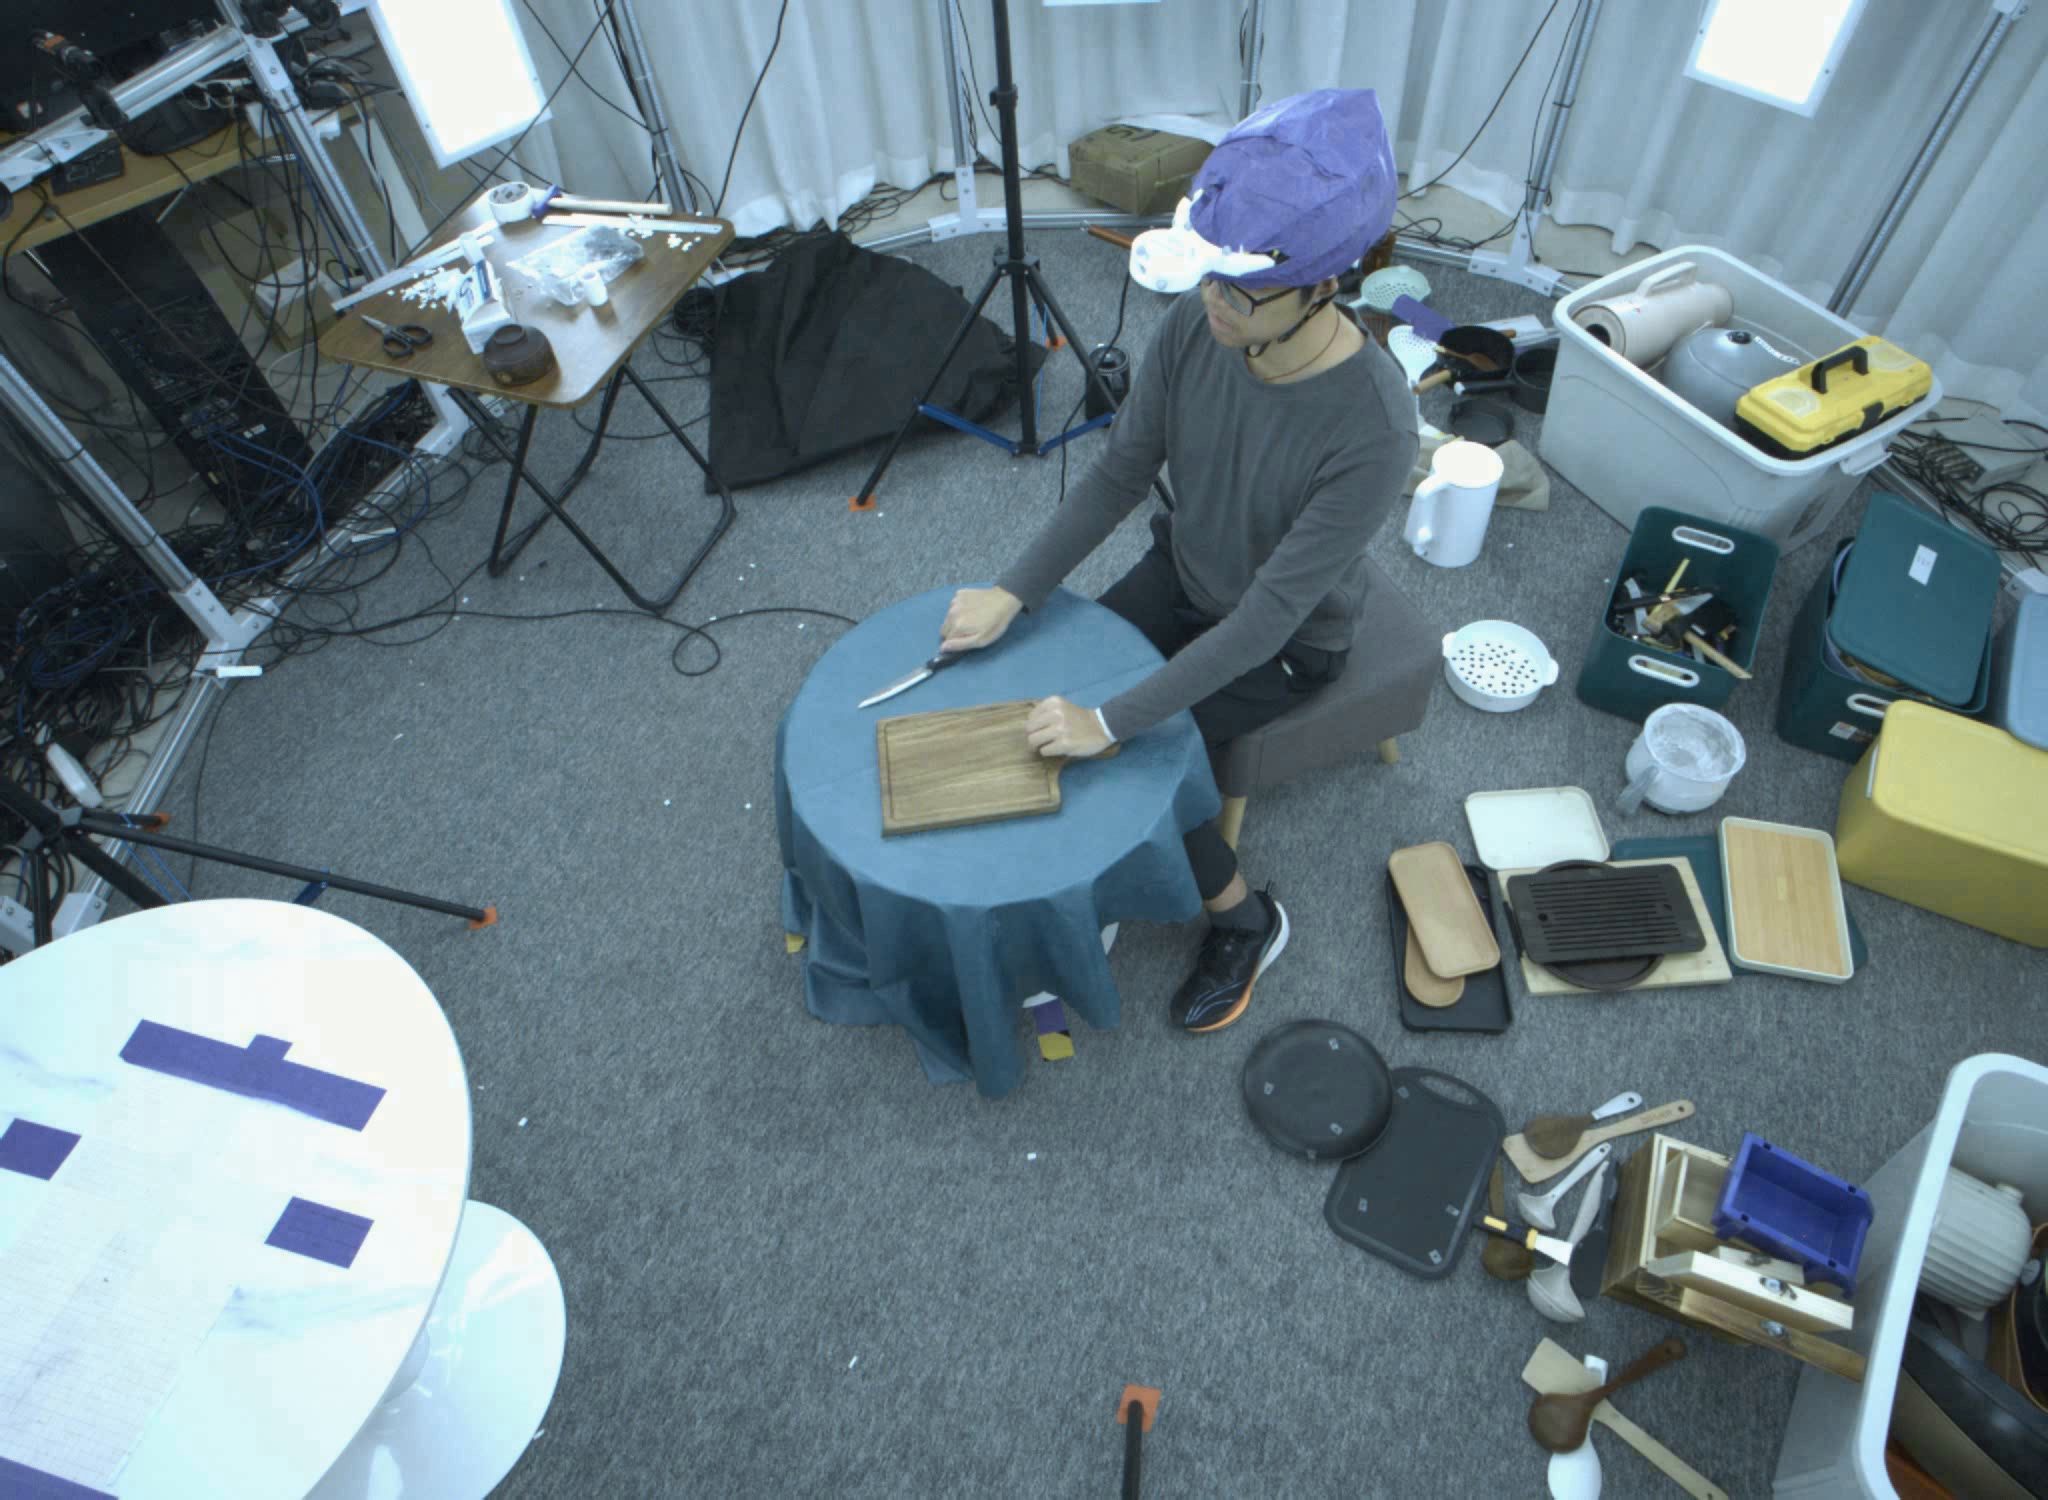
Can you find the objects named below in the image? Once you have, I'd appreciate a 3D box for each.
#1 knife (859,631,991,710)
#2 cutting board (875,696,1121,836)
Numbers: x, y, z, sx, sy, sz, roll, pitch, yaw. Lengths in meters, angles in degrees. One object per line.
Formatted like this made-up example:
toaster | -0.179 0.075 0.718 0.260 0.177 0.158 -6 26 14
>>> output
knife | -0.153 -0.123 1.879 0.240 0.016 0.024 -32 58 -18
cutting board | -0.033 0.012 1.774 0.353 0.023 0.198 -8 55 -5
